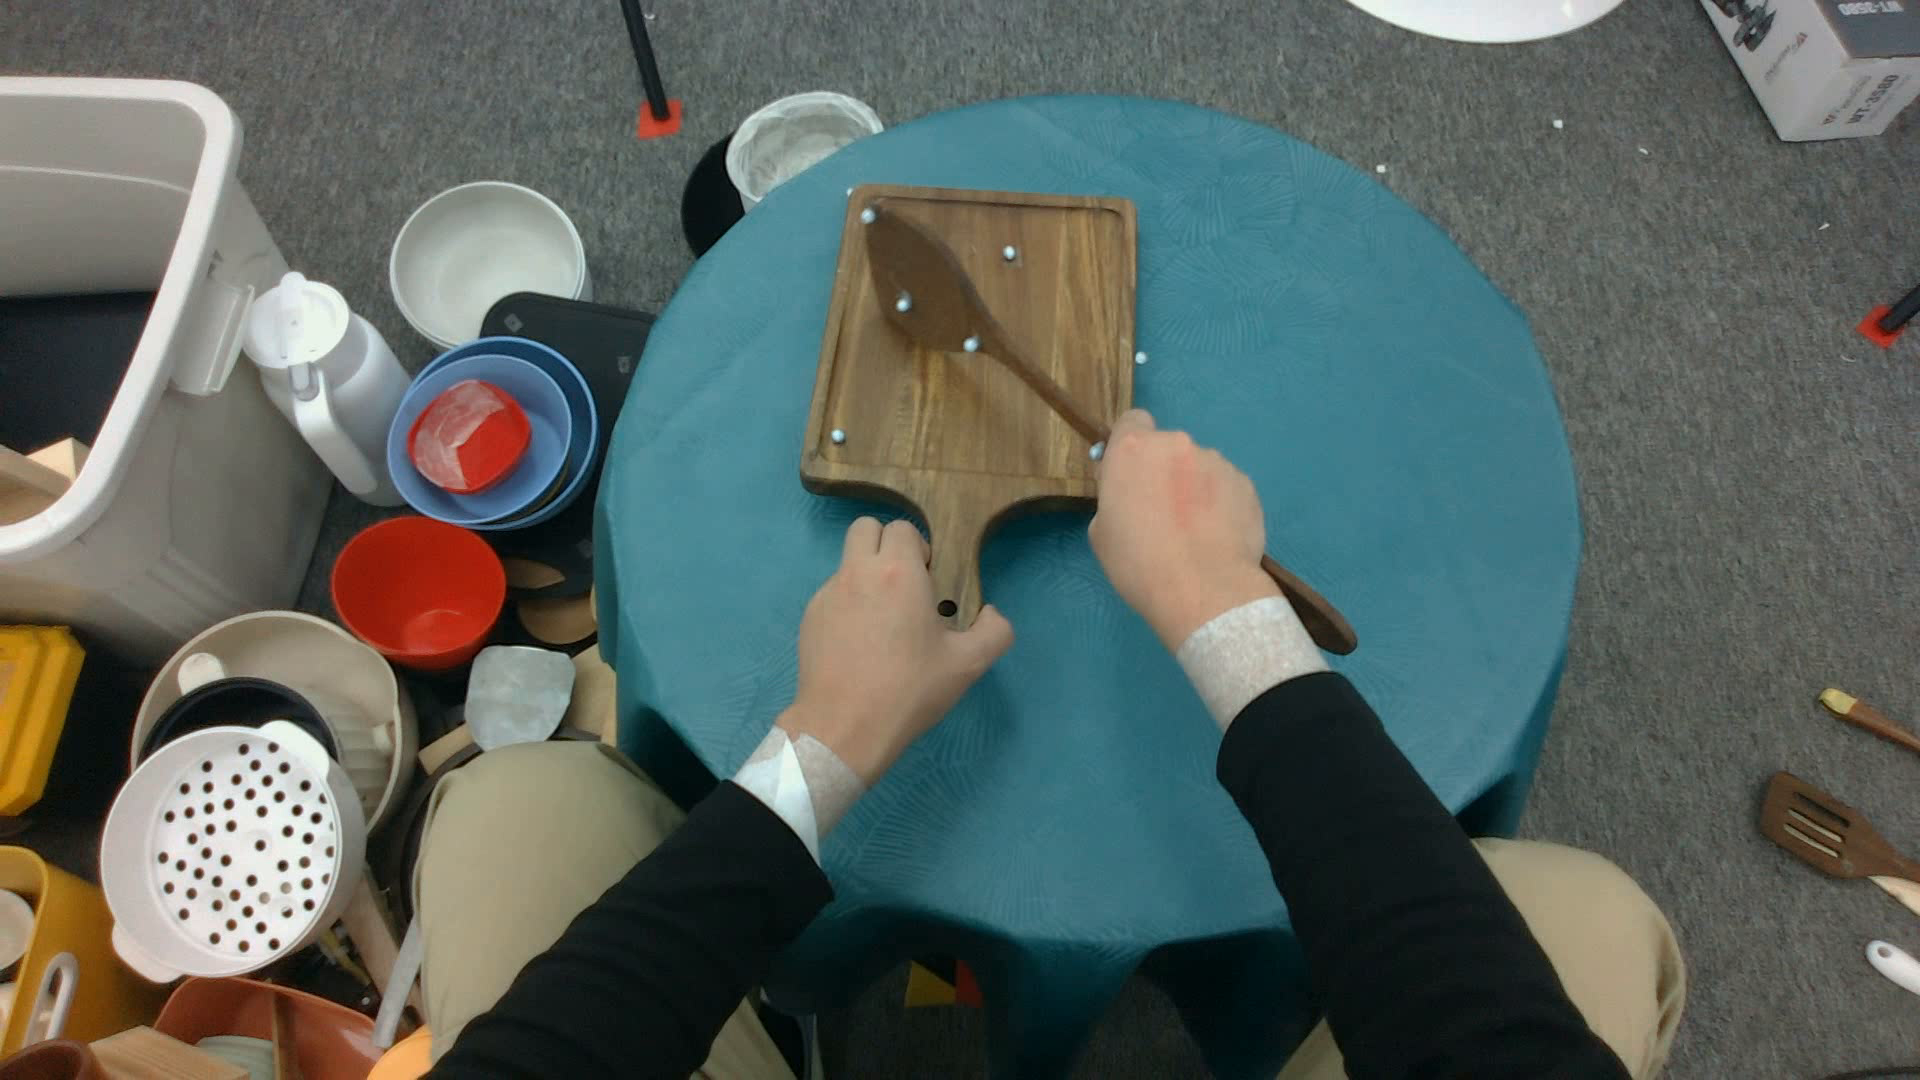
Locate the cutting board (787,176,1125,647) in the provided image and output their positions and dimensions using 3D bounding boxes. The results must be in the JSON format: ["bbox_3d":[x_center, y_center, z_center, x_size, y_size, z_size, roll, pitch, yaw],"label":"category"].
[{"bbox_3d":[0.000,-0.094,0.844,0.201,0.023,0.353,4,57,2],"label":"cutting board"}]

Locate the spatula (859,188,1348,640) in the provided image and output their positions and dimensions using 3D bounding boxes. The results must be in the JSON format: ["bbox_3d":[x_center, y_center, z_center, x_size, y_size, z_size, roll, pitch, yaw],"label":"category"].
[{"bbox_3d":[0.062,-0.072,0.757,0.016,0.095,0.386,-33,60,-21],"label":"spatula"}]
